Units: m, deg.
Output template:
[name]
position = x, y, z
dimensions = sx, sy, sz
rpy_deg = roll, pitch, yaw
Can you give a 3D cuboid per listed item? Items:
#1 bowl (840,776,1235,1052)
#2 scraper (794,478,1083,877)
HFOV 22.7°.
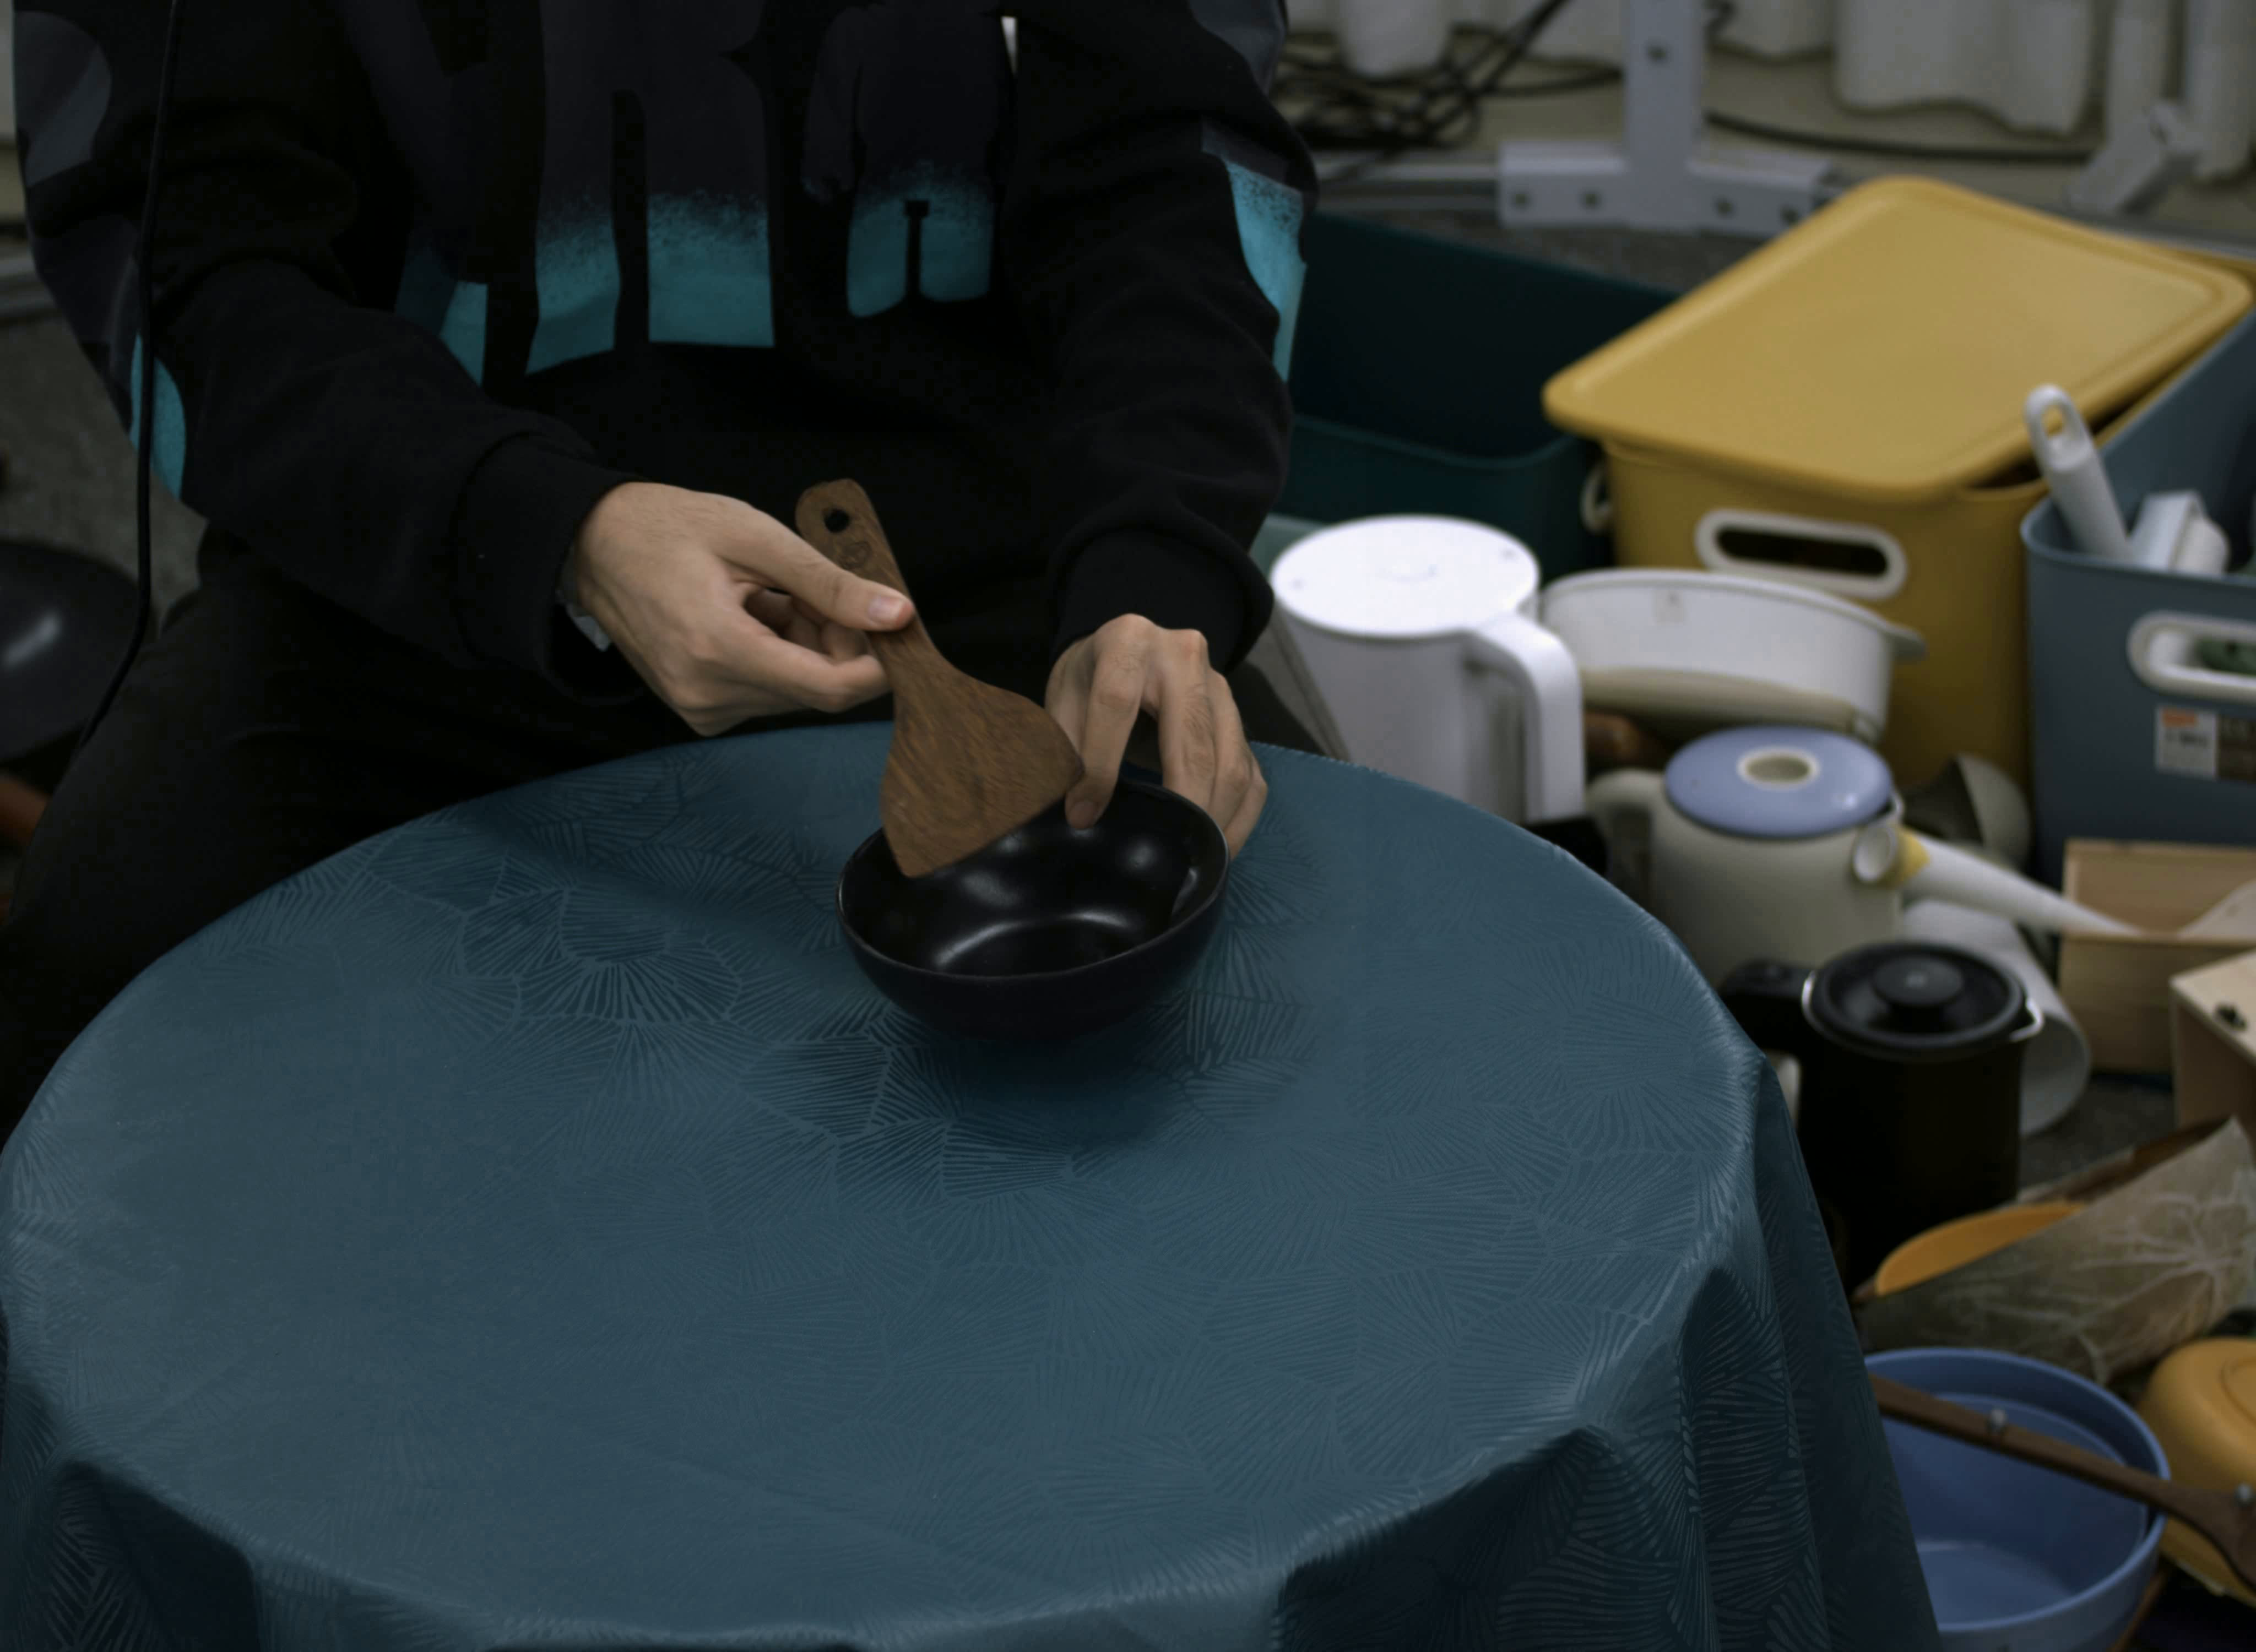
[bowl]
position = -0.028, 0.039, 1.949
dimensions = 0.139, 0.049, 0.142
rpy_deg = -8, 29, 5
[scraper]
position = -0.077, -0.058, 1.985
dimensions = 0.075, 0.011, 0.214
rpy_deg = -29, 43, 1
